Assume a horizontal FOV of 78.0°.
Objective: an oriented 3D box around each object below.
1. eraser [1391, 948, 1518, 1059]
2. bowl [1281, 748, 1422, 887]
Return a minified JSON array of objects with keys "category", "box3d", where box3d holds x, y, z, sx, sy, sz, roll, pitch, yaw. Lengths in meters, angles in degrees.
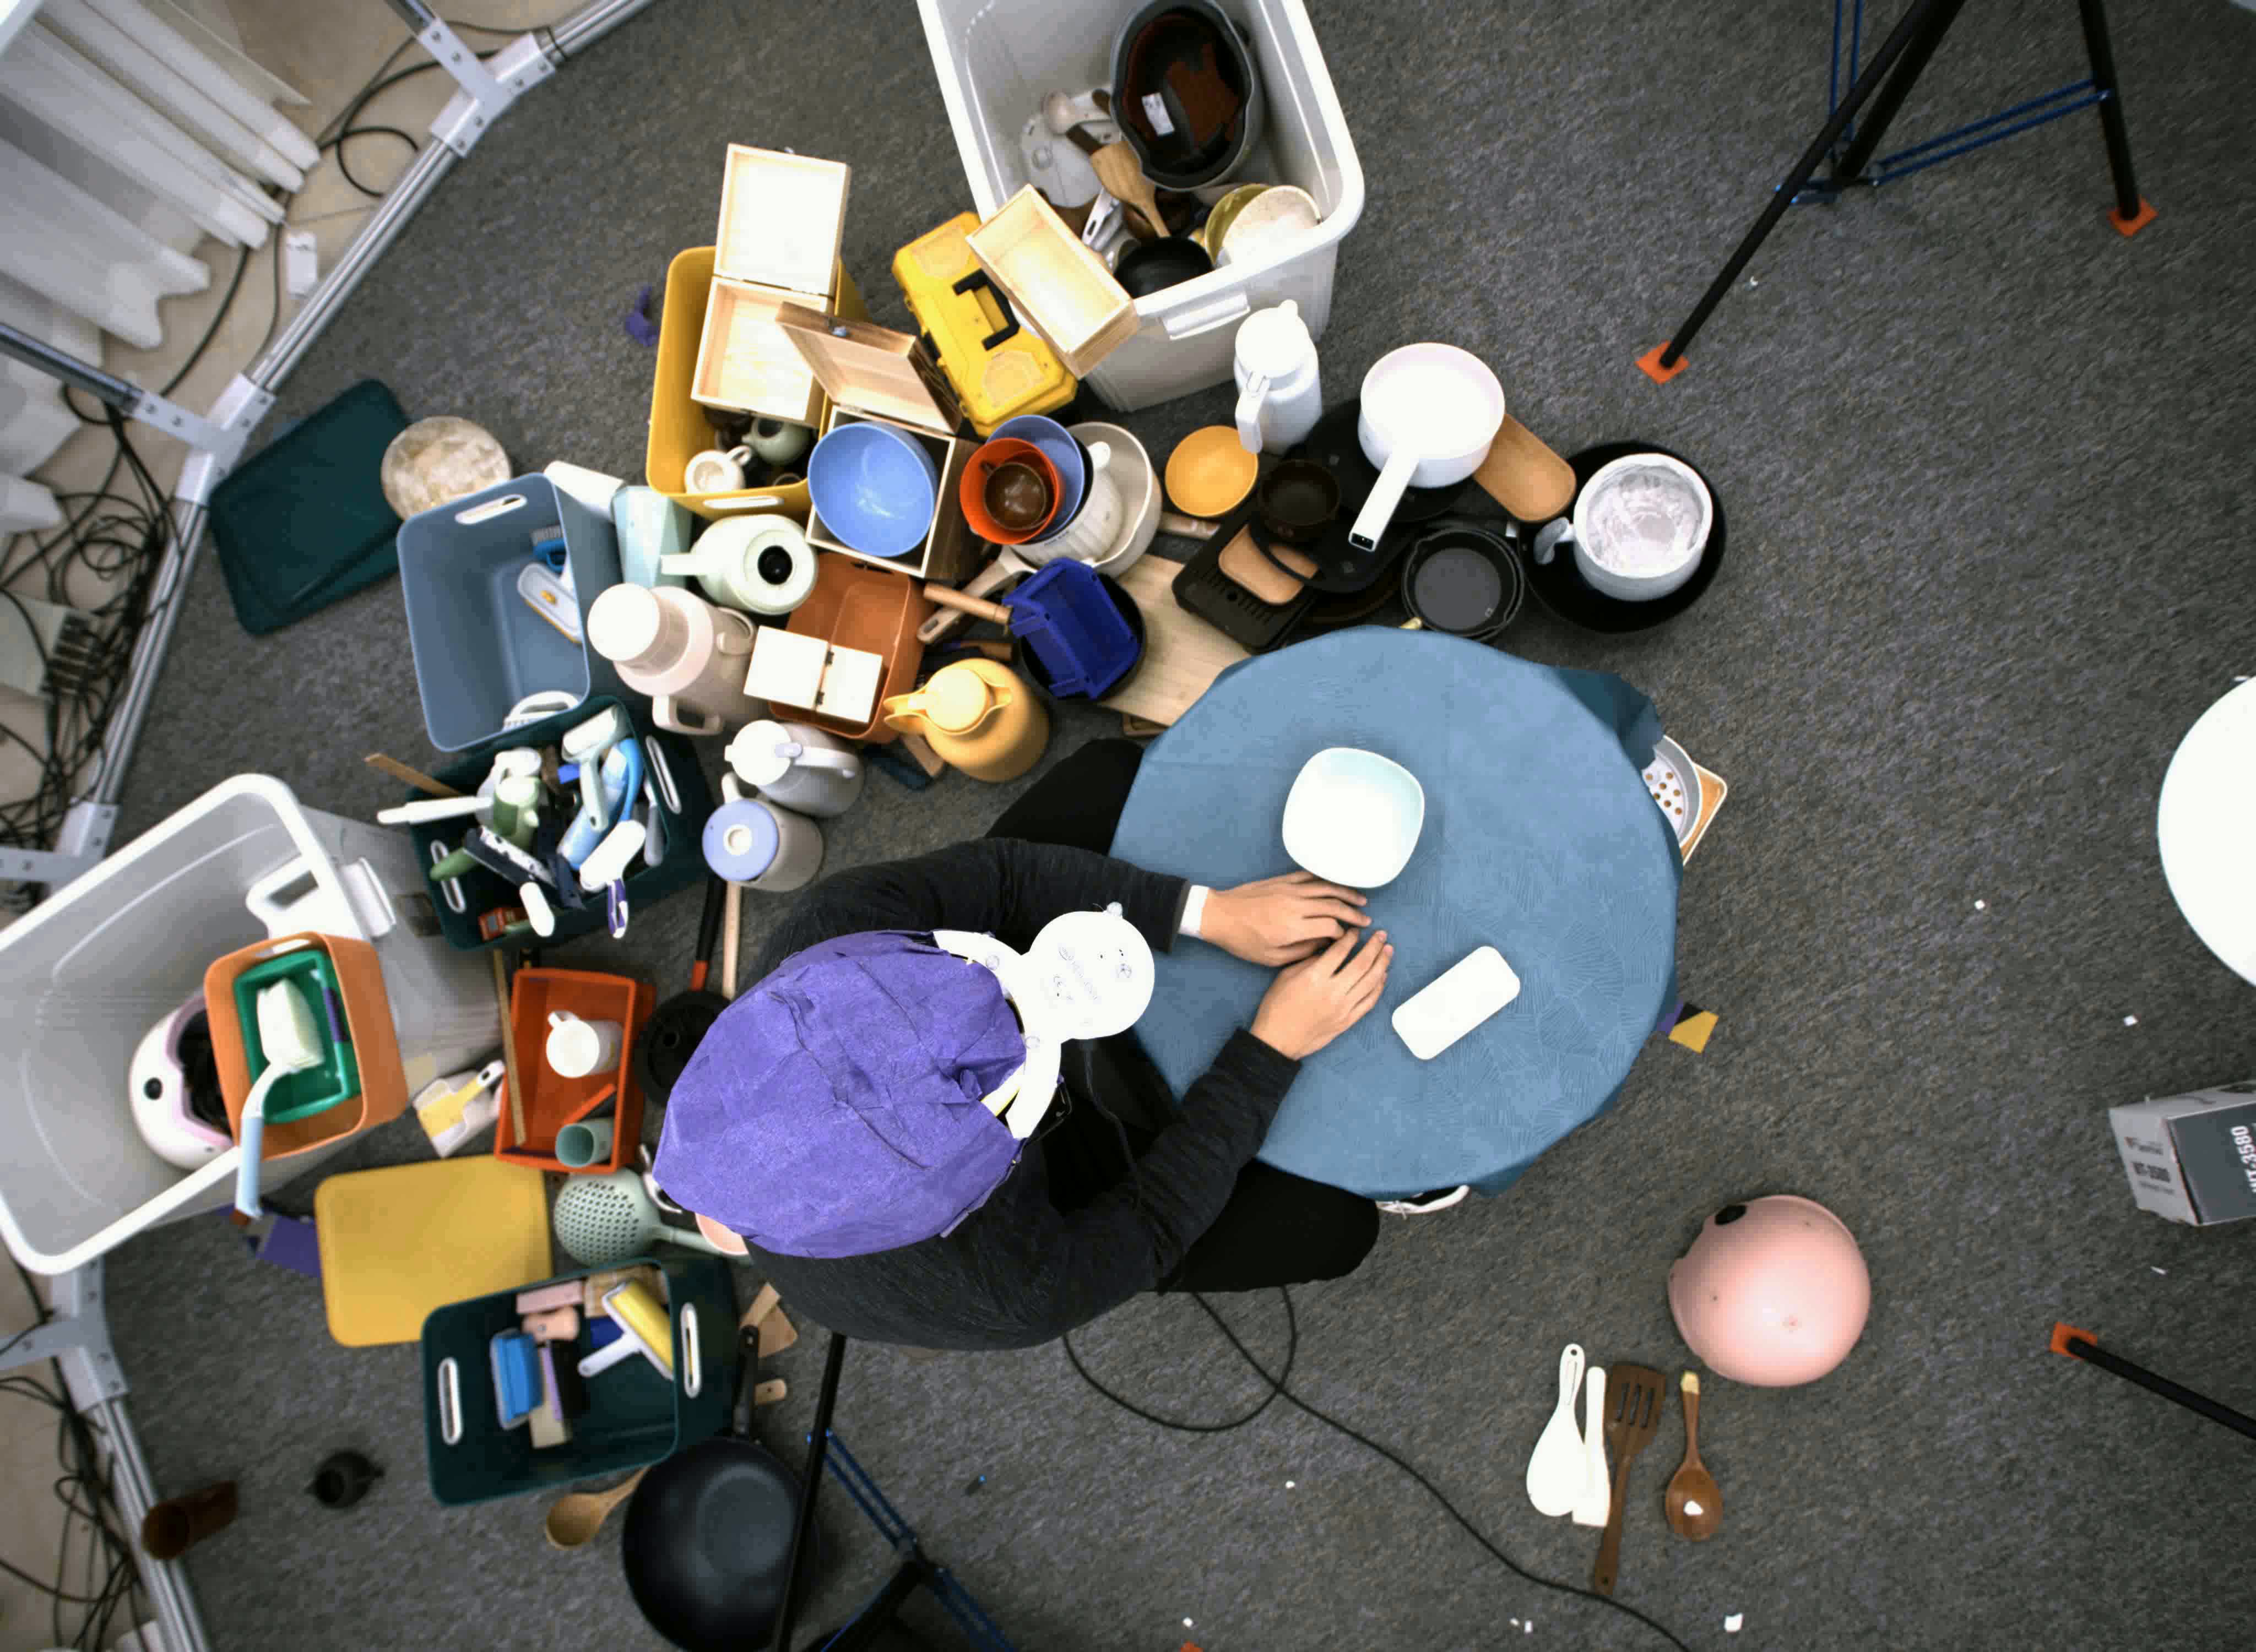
[{"category":"eraser","box3d":[0.336,0.181,1.426,0.132,0.034,0.063,-37,78,5]},{"category":"bowl","box3d":[0.233,-0.007,1.443,0.152,0.059,0.150,-1,85,10]}]
